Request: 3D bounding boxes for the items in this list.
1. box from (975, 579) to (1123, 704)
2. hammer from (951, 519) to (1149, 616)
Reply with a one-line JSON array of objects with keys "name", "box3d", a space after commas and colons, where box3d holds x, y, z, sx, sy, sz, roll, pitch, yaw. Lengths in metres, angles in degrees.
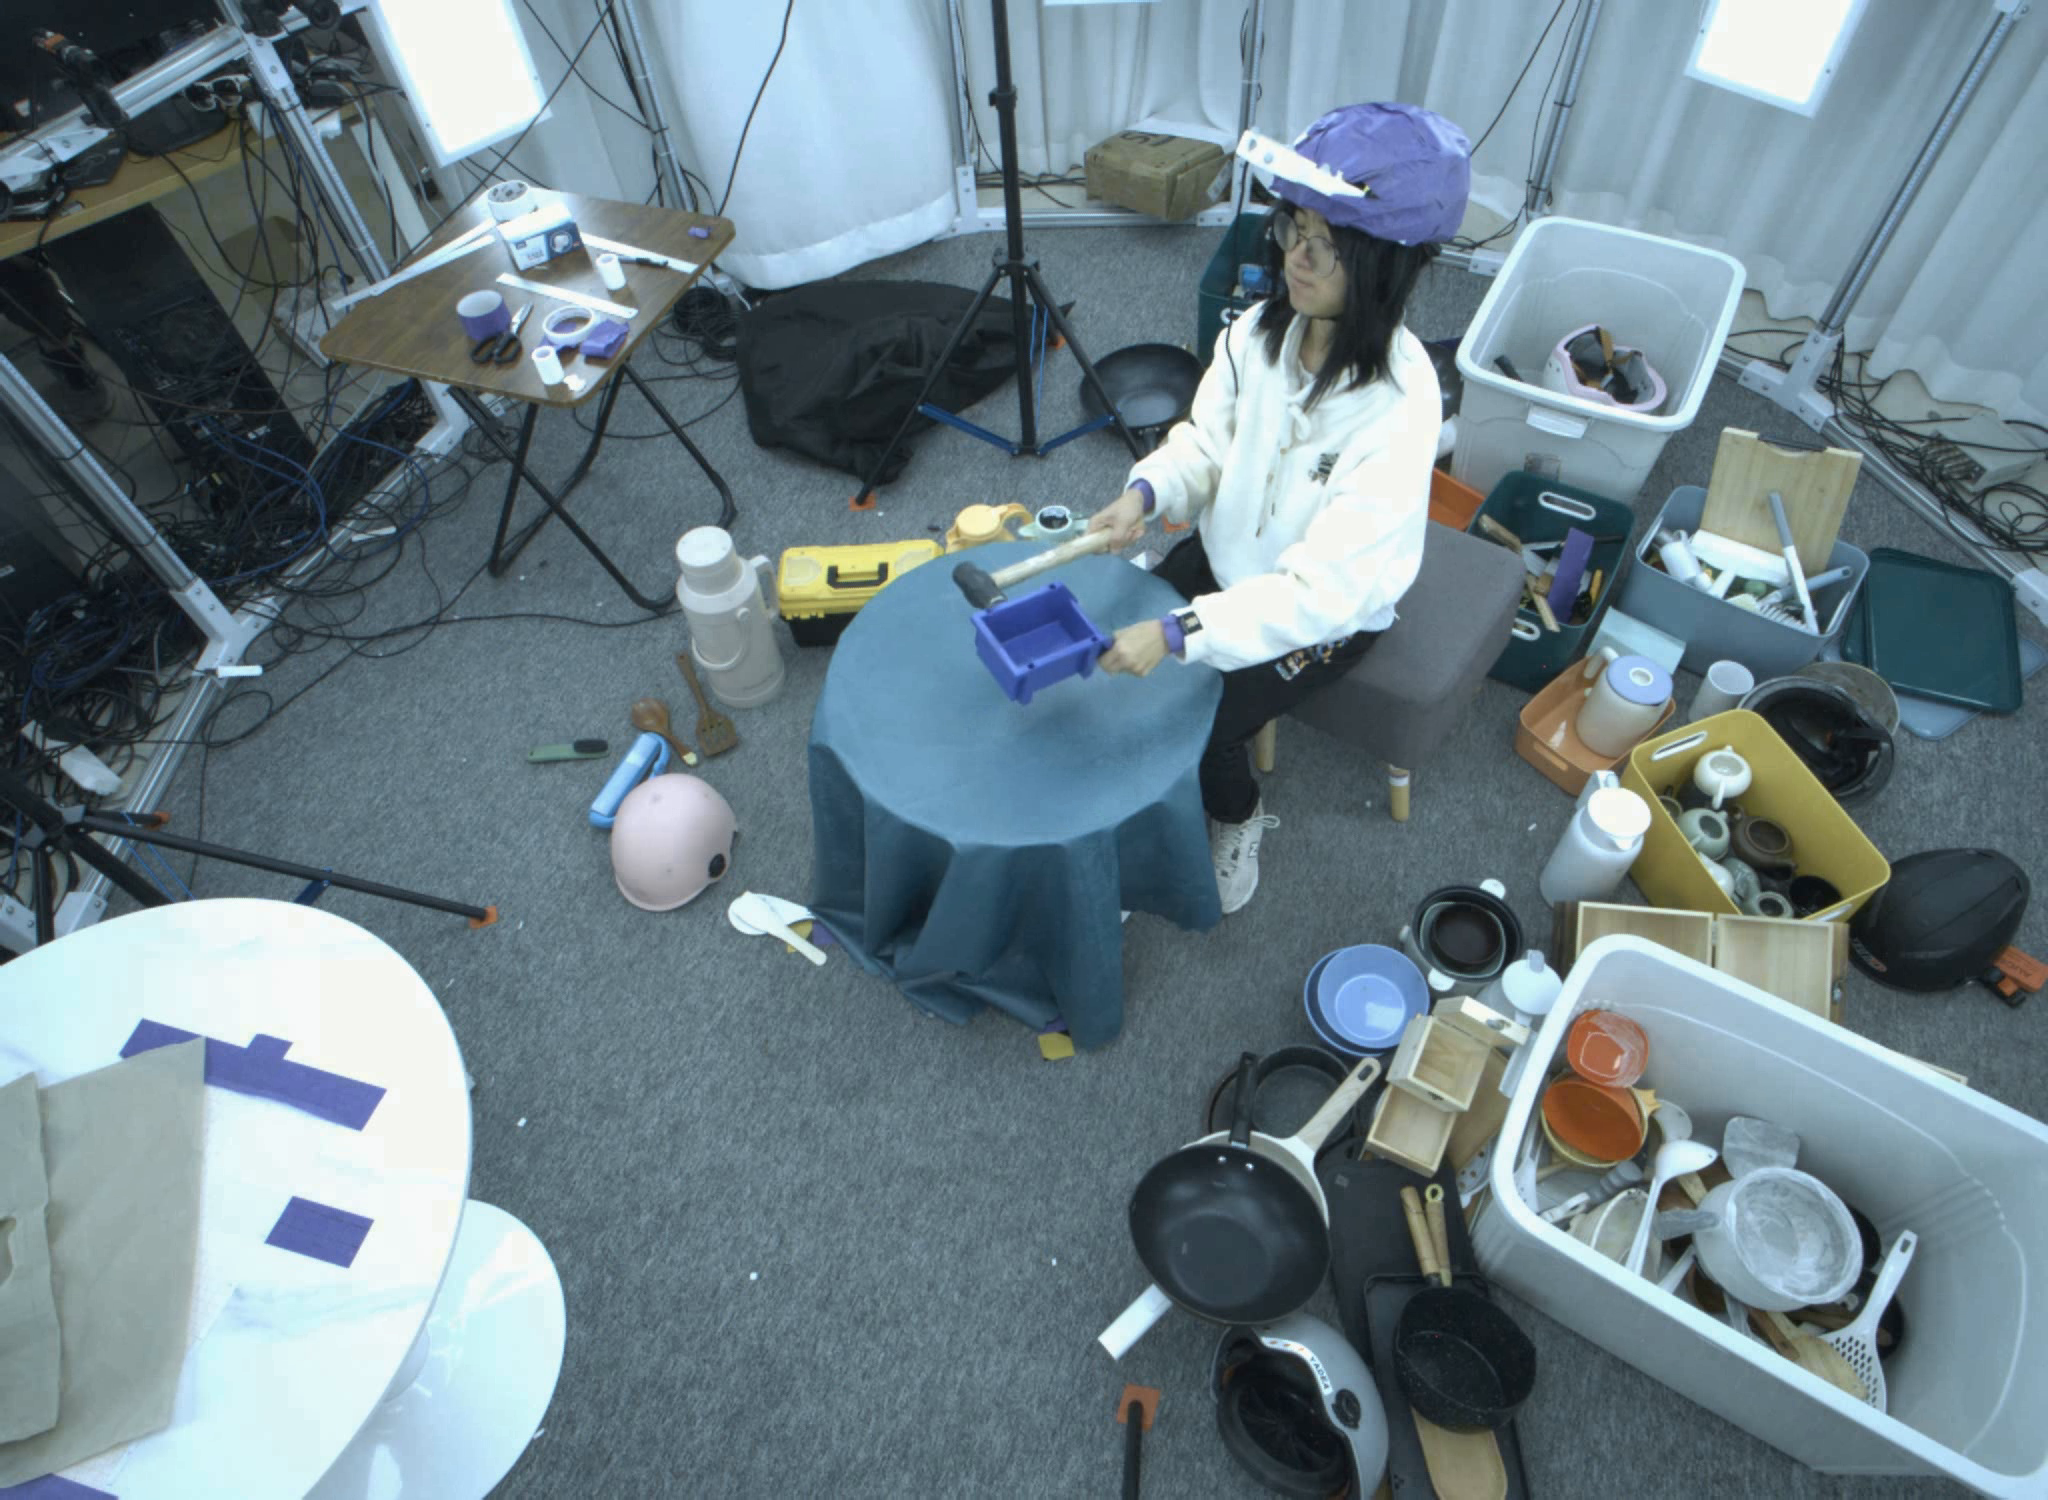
[{"name": "box", "box3d": [0.035, -0.156, 1.719, 0.181, 0.082, 0.122, -26, 64, -22]}, {"name": "hammer", "box3d": [0.048, -0.285, 1.824, 0.308, 0.039, 0.105, -23, 49, -20]}]
